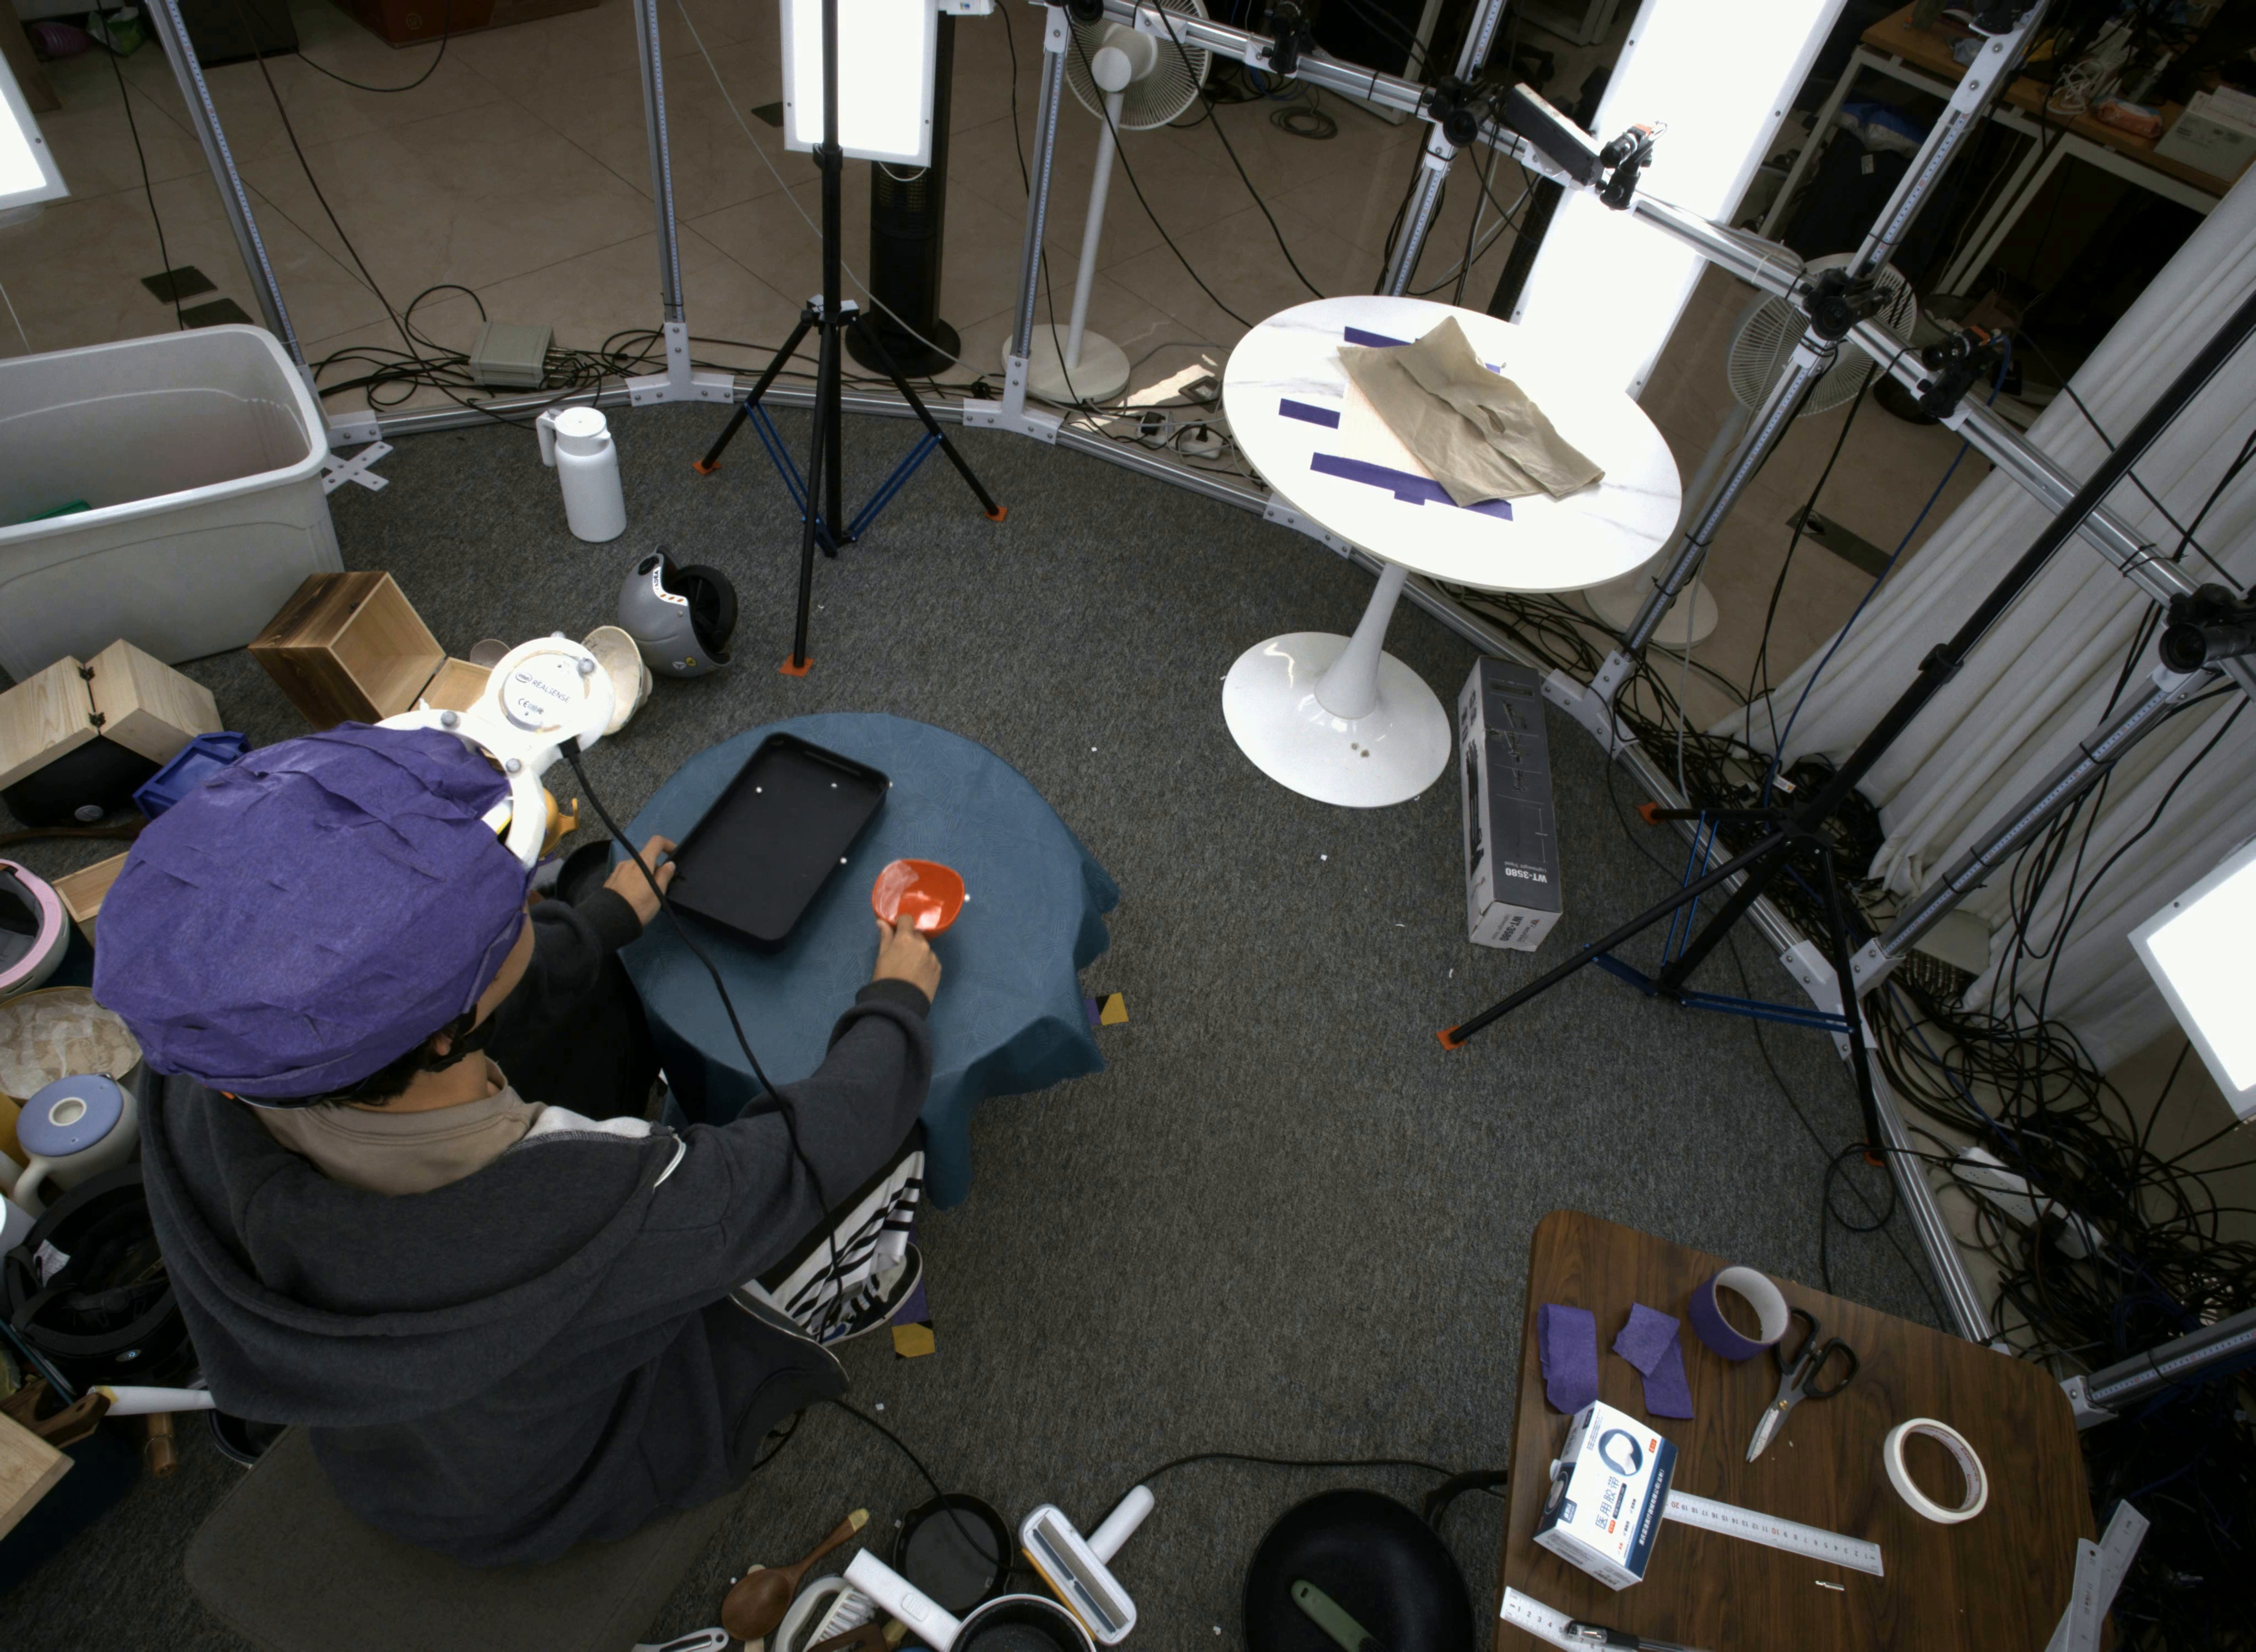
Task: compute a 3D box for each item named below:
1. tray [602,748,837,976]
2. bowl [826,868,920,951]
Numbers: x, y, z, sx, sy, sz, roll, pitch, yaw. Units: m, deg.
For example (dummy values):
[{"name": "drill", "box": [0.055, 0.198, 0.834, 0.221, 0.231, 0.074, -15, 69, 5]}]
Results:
[{"name": "tray", "box": [-0.508, 0.036, 1.625, 0.182, 0.038, 0.314, 20, 46, 1]}, {"name": "bowl", "box": [-0.311, 0.108, 1.590, 0.118, 0.052, 0.116, 7, 46, -6]}]
